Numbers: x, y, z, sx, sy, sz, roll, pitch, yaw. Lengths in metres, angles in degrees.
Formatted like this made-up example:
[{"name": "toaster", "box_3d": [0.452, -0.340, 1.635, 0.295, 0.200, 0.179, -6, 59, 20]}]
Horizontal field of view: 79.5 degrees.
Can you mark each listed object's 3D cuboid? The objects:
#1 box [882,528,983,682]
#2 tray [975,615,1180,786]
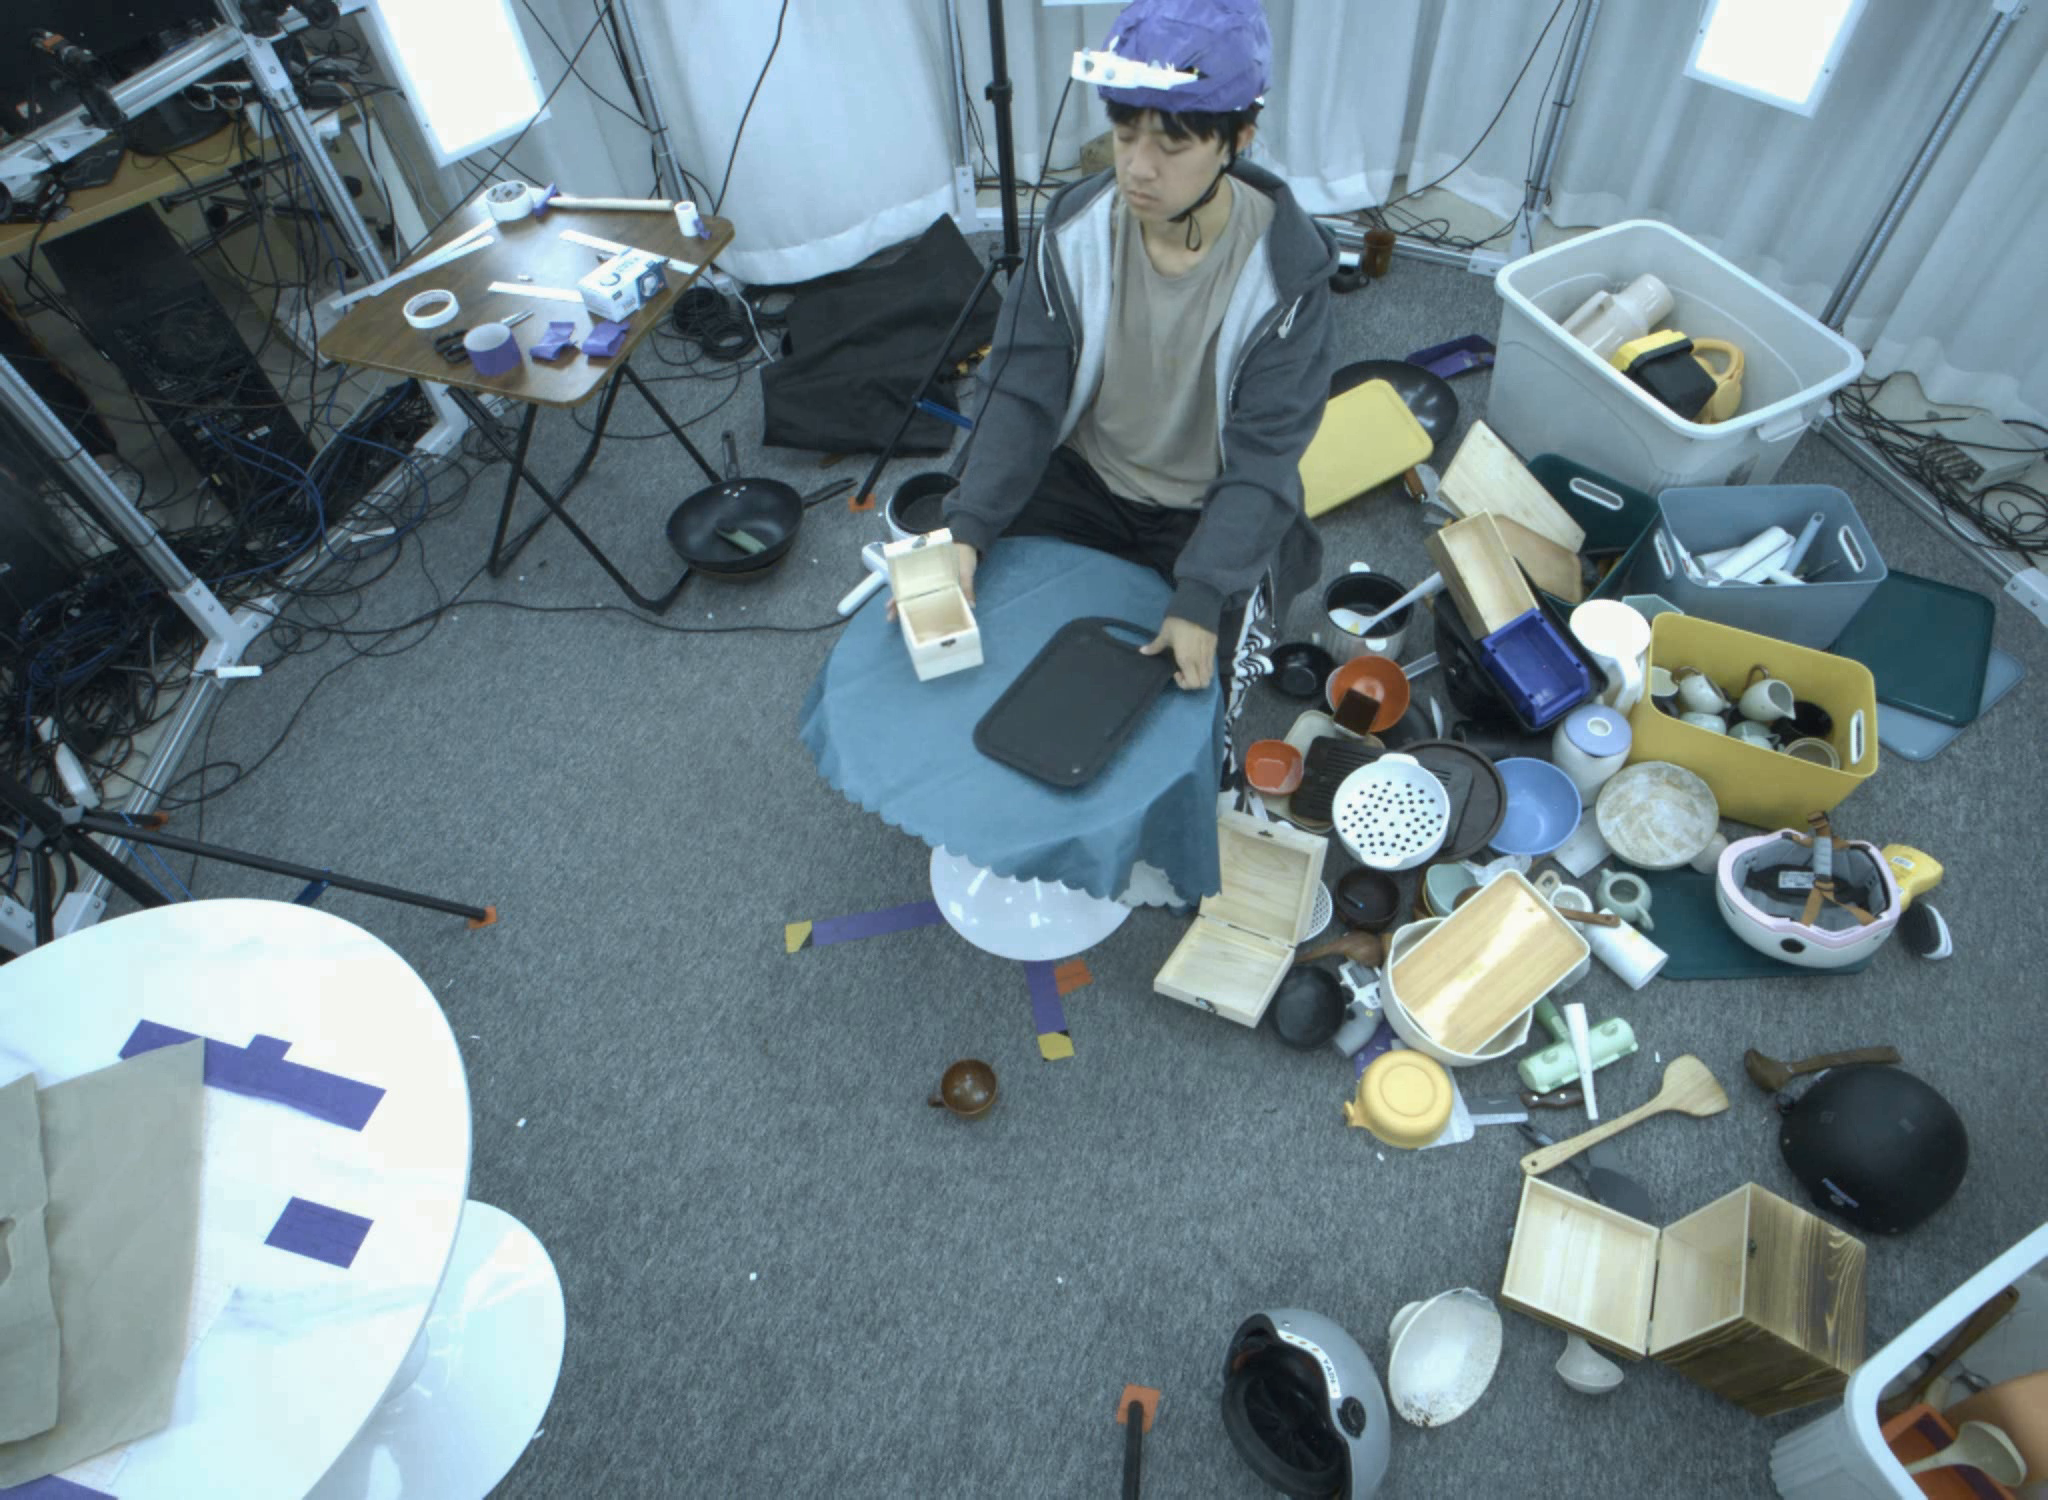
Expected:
[{"name": "box", "box_3d": [-0.135, -0.216, 1.834, 0.103, 0.186, 0.131, -19, 55, -9]}, {"name": "tray", "box_3d": [0.084, -0.087, 1.830, 0.207, 0.010, 0.327, 25, 59, 27]}]
